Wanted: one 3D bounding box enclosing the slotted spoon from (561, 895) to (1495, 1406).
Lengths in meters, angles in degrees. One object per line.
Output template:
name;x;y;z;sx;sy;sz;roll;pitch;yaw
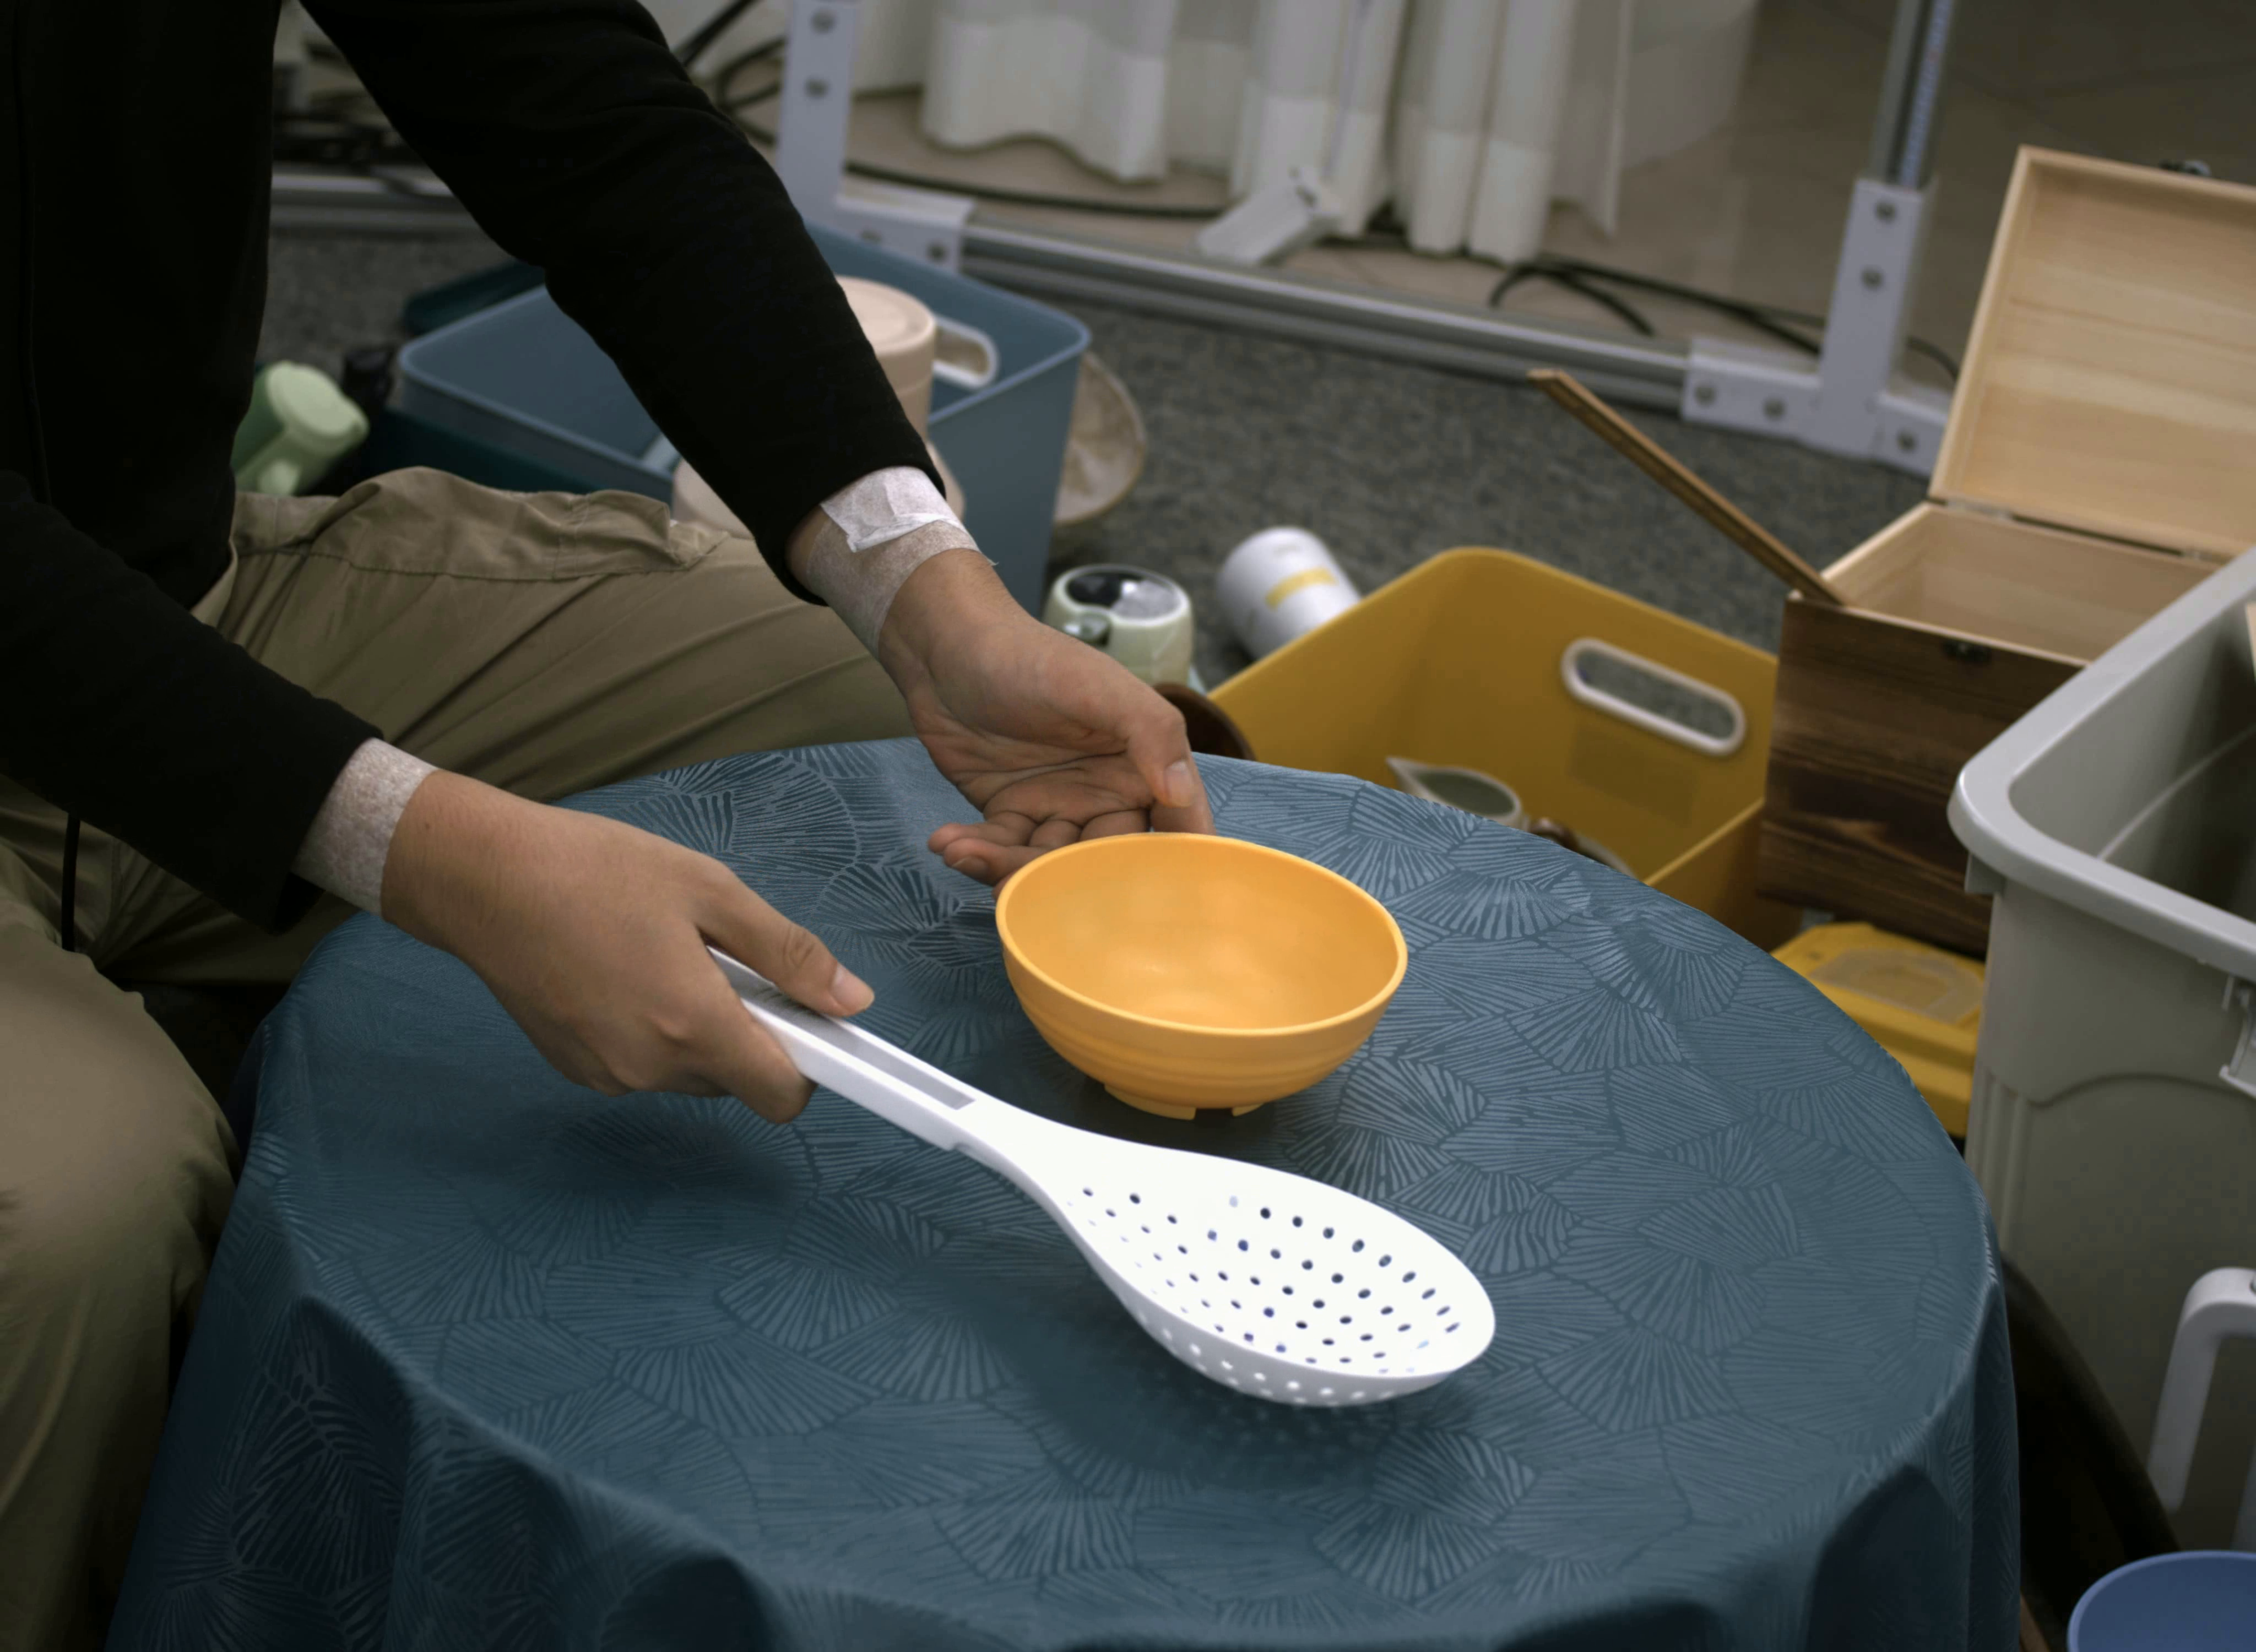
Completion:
slotted spoon;-0.041;0.102;1.735;0.351;0.045;0.135;30;24;20

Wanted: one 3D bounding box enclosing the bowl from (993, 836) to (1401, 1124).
bowl;0.020;0.062;1.865;0.145;0.060;0.146;7;26;-4
